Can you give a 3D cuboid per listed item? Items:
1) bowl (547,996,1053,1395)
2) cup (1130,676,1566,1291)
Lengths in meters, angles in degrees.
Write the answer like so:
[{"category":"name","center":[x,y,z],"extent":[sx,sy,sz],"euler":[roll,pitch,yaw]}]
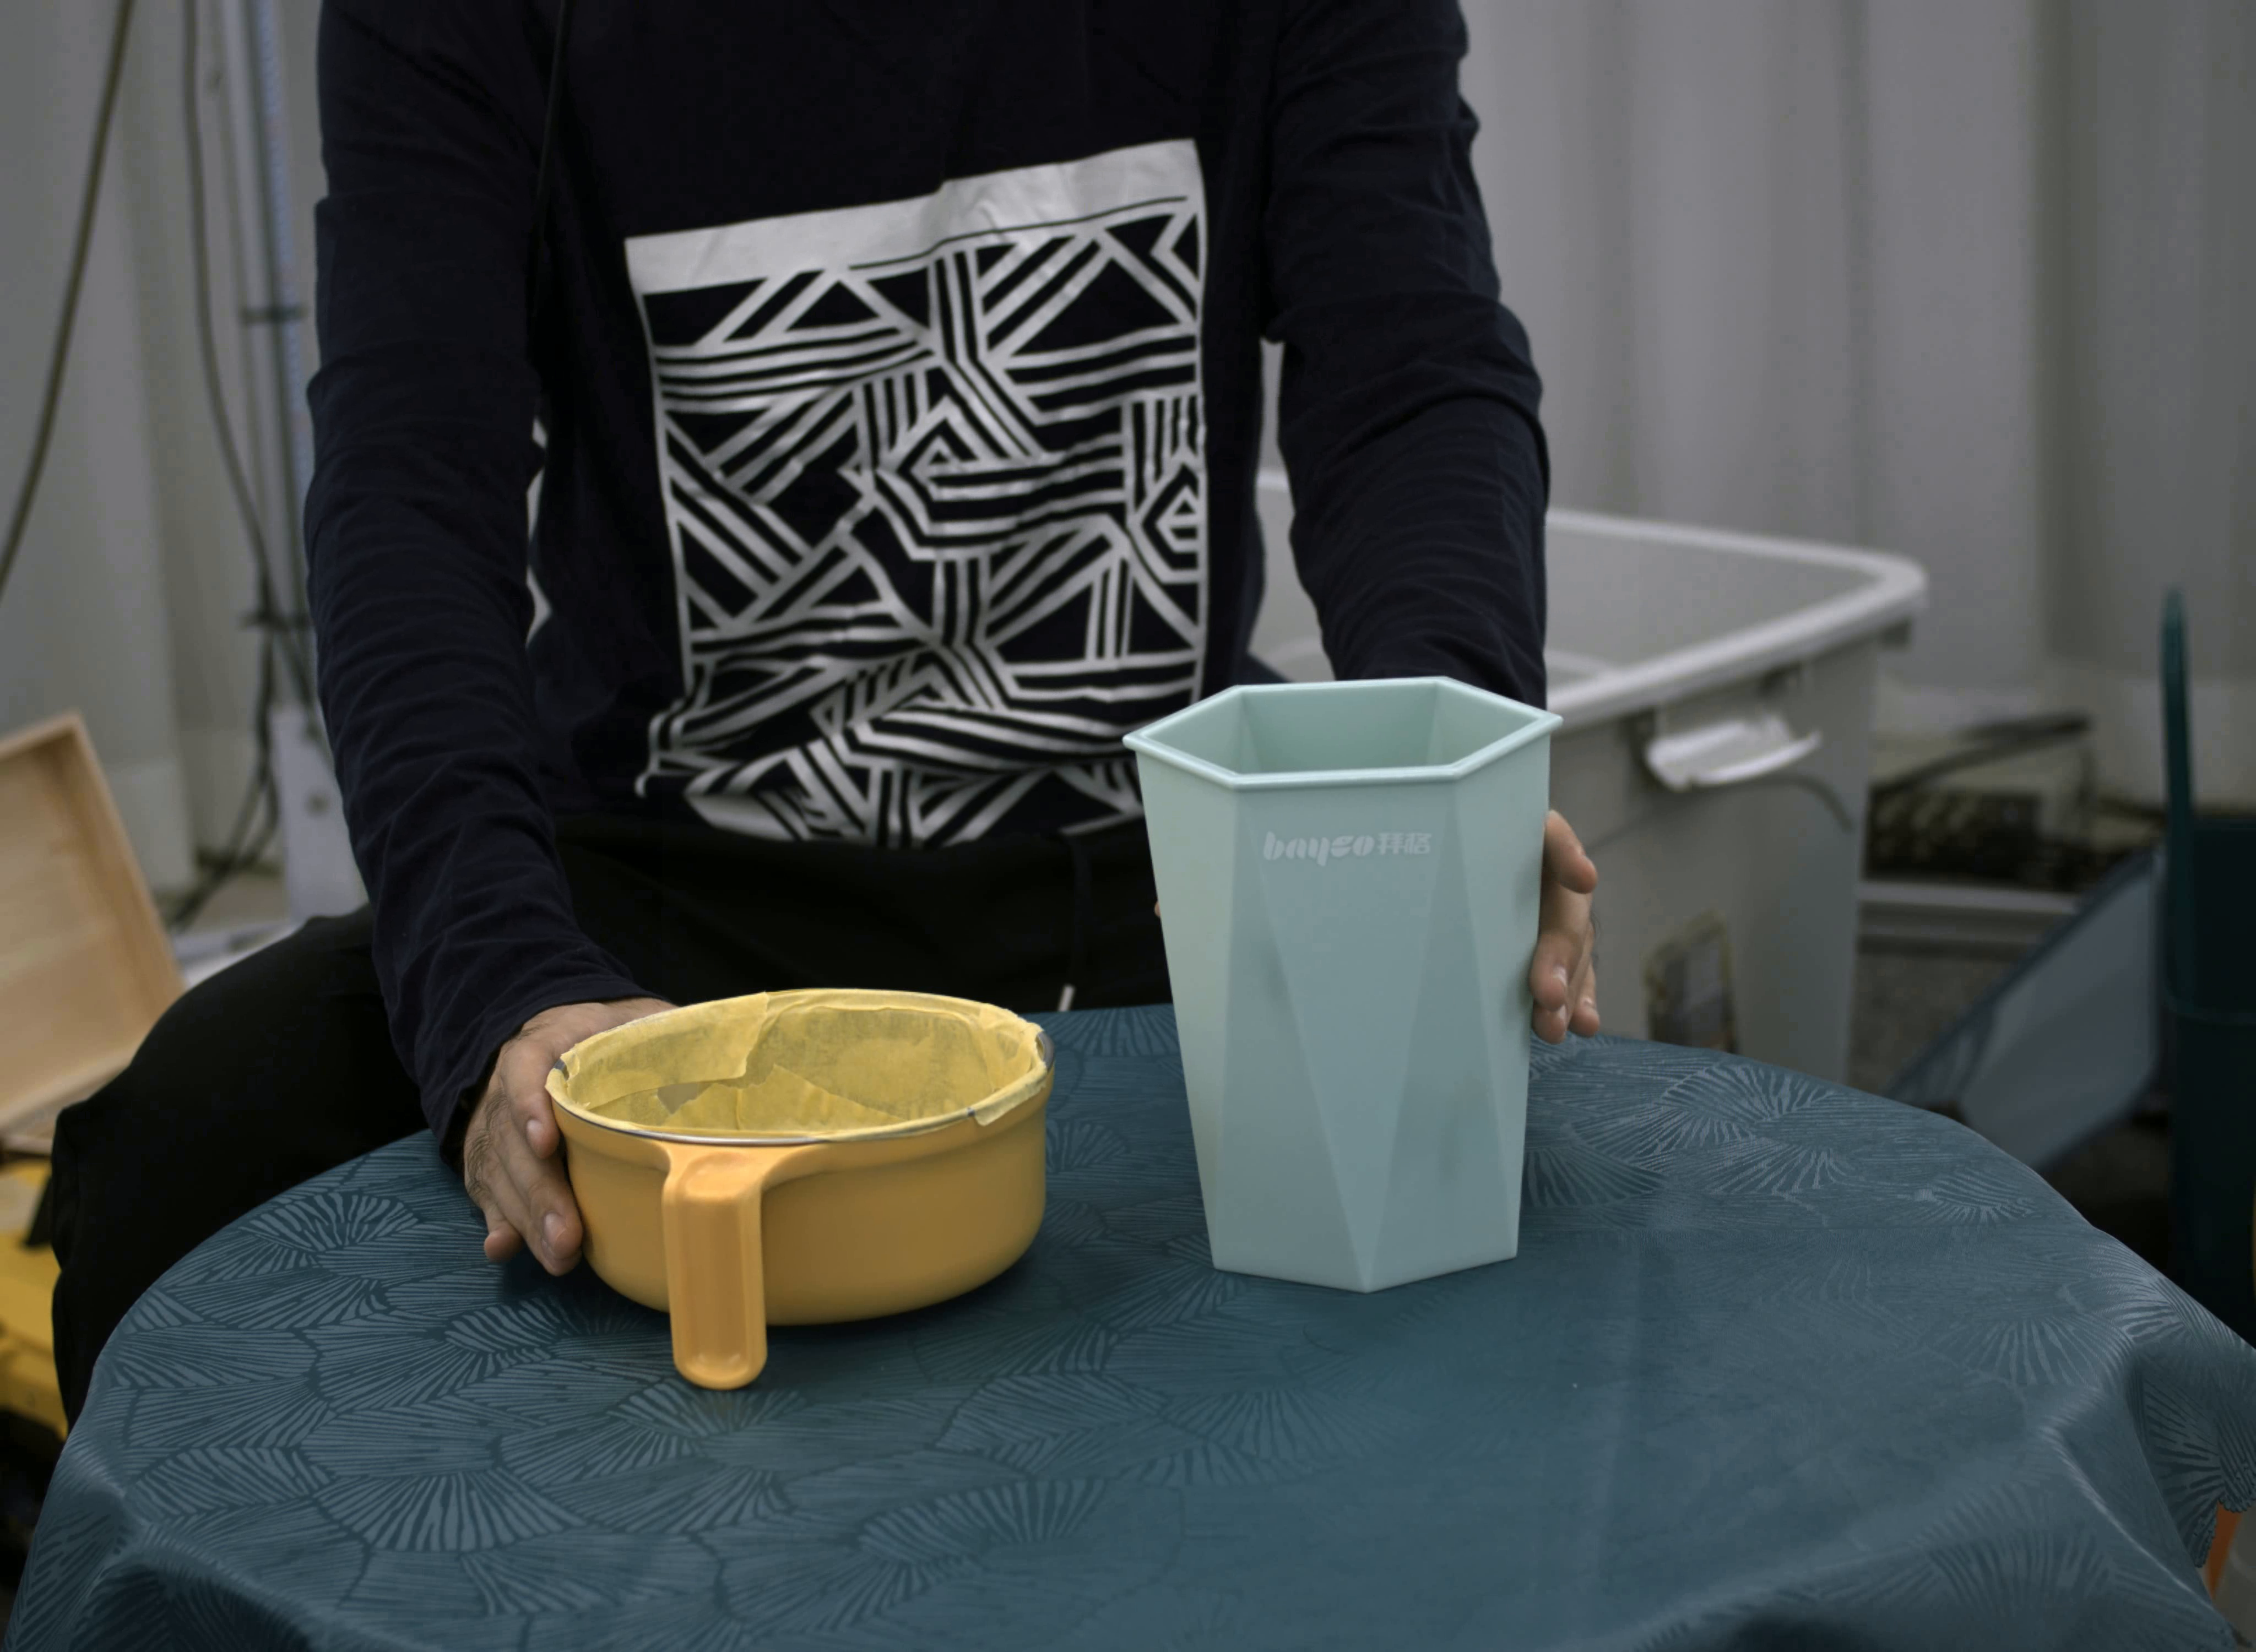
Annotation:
[{"category":"bowl","center":[-0.099,0.107,1.637],"extent":[0.152,0.074,0.180],"euler":[-1,13,9]},{"category":"cup","center":[0.067,0.047,1.644],"extent":[0.130,0.162,0.116],"euler":[-2,12,-1]}]
